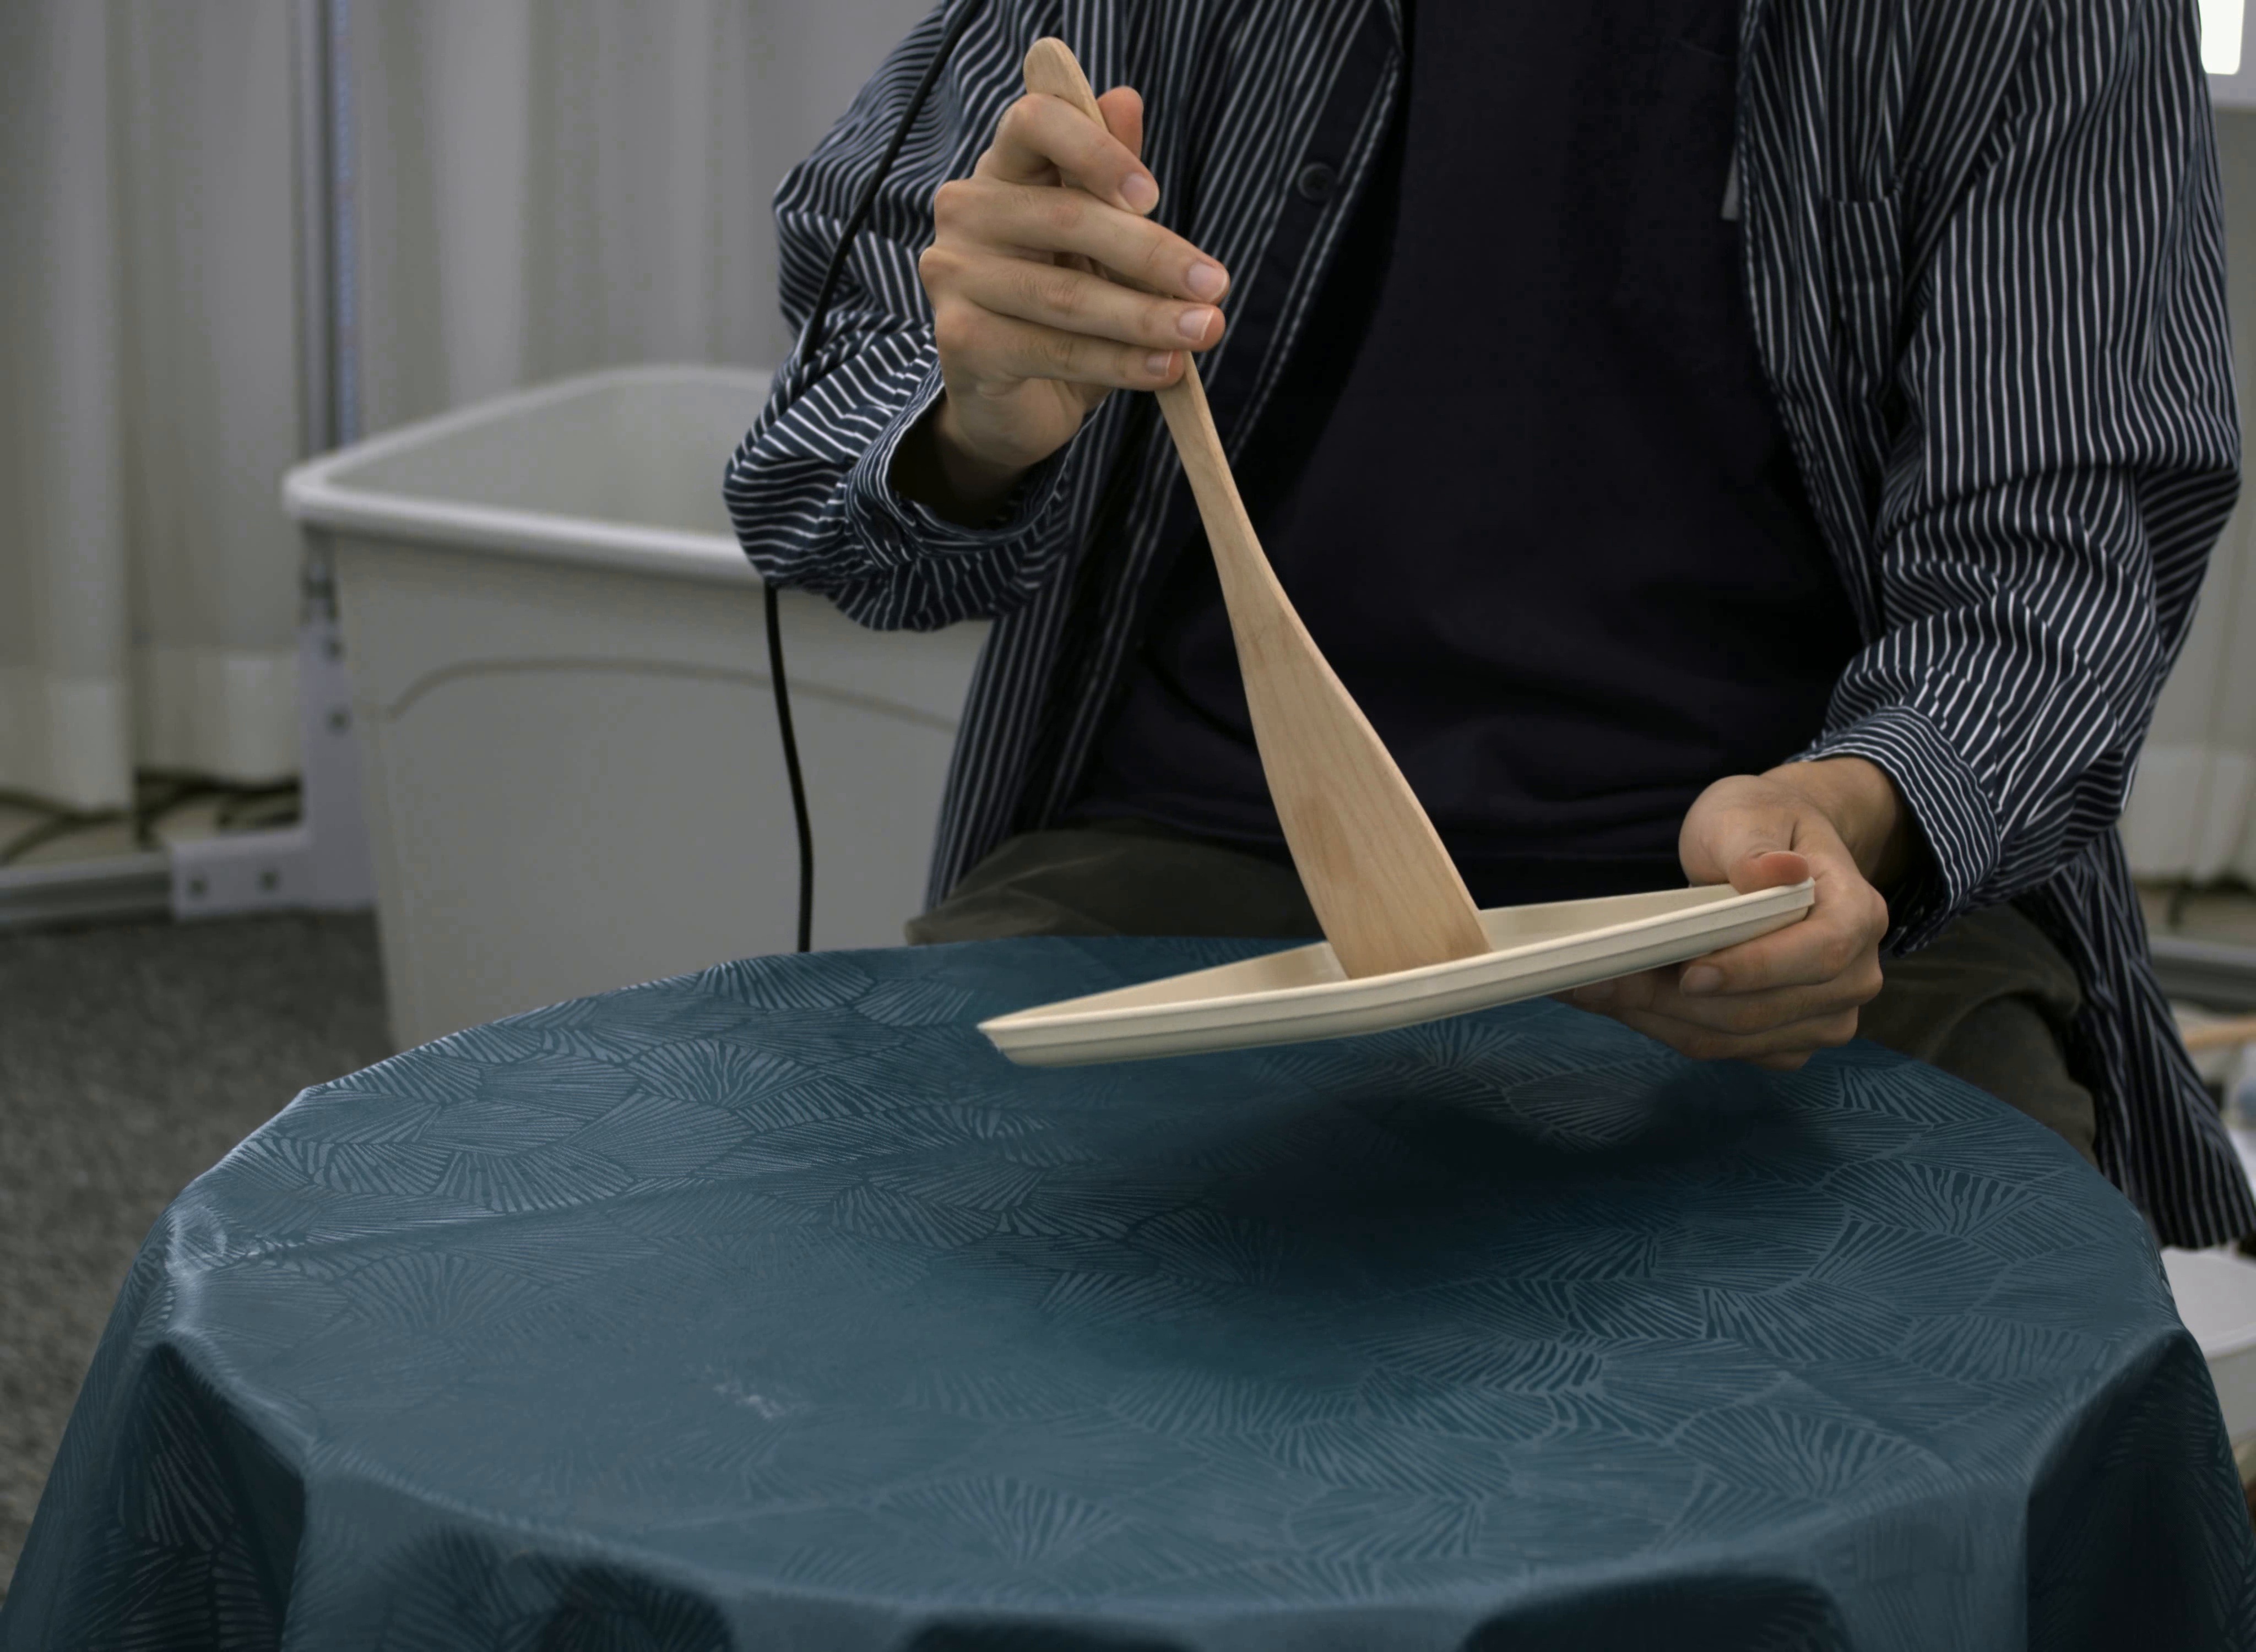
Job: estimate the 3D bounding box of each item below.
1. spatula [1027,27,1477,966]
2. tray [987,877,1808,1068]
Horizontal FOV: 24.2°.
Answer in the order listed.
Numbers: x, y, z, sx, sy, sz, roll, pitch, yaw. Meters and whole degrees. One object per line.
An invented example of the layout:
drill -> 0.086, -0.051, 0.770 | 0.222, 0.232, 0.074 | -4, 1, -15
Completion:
spatula -> 0.031, -0.102, 1.680 | 0.016, 0.328, 0.079 | -18, -3, -33
tray -> 0.086, 0.045, 1.609 | 0.169, 0.017, 0.241 | -9, 1, 42
